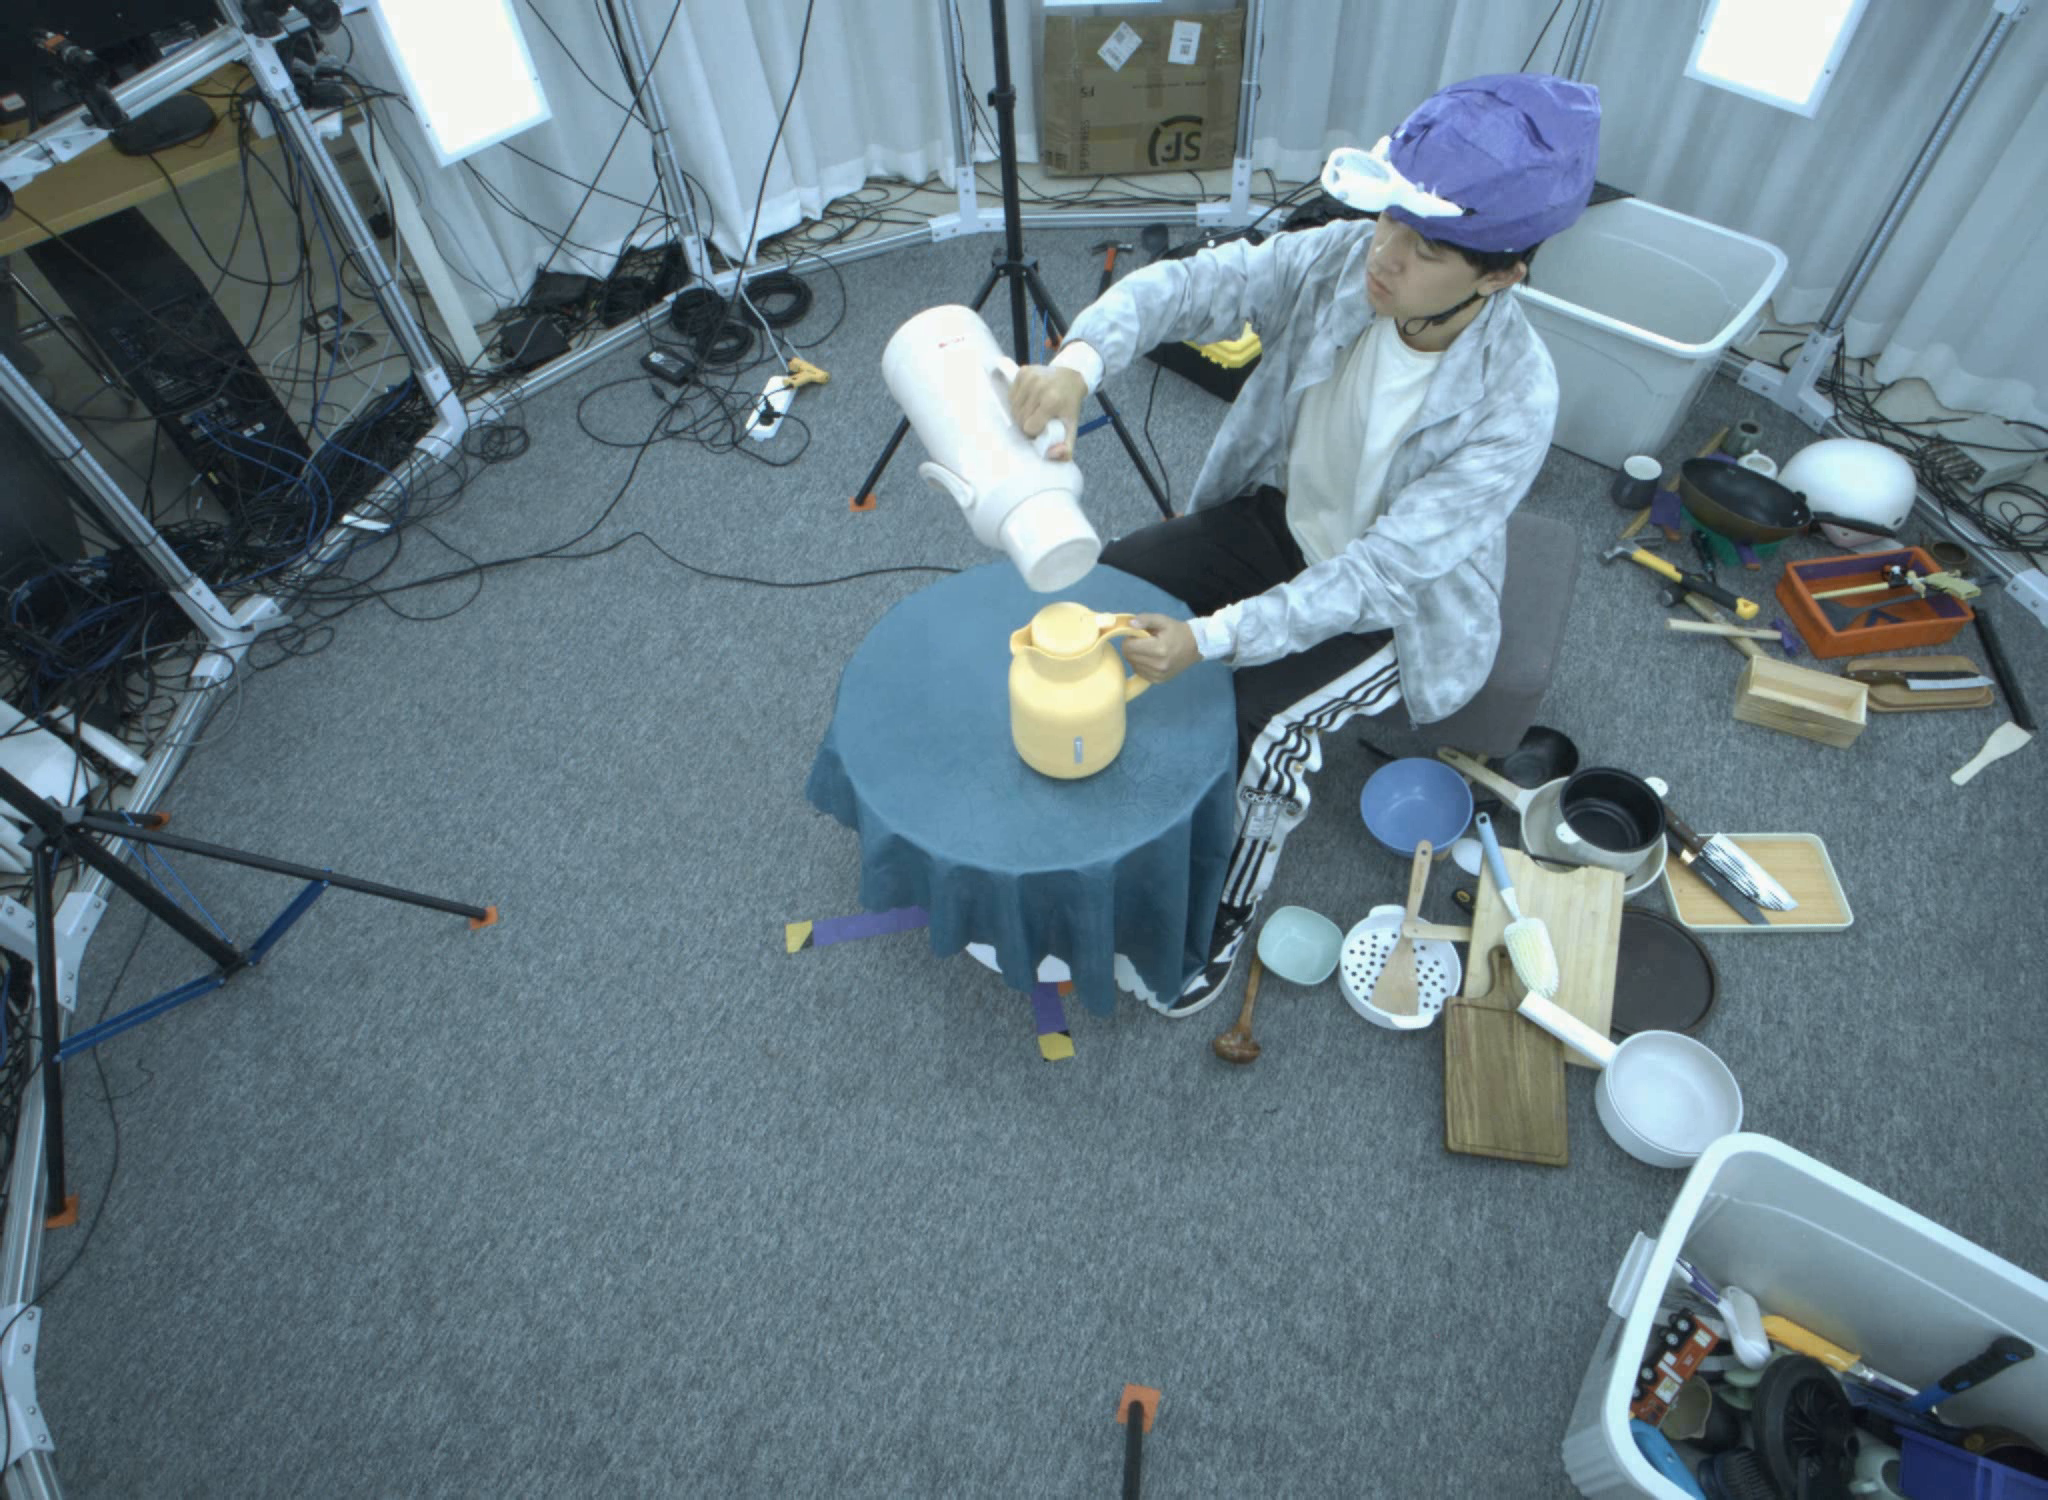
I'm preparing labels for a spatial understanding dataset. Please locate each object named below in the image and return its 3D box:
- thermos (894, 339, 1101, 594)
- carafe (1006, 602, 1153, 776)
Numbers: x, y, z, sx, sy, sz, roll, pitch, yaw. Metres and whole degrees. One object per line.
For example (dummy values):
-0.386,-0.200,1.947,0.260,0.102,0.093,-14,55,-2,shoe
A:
-0.030,-0.397,1.584,0.178,0.206,0.400,-12,62,-32,thermos
0.077,-0.092,1.691,0.203,0.263,0.161,-11,57,-3,carafe
